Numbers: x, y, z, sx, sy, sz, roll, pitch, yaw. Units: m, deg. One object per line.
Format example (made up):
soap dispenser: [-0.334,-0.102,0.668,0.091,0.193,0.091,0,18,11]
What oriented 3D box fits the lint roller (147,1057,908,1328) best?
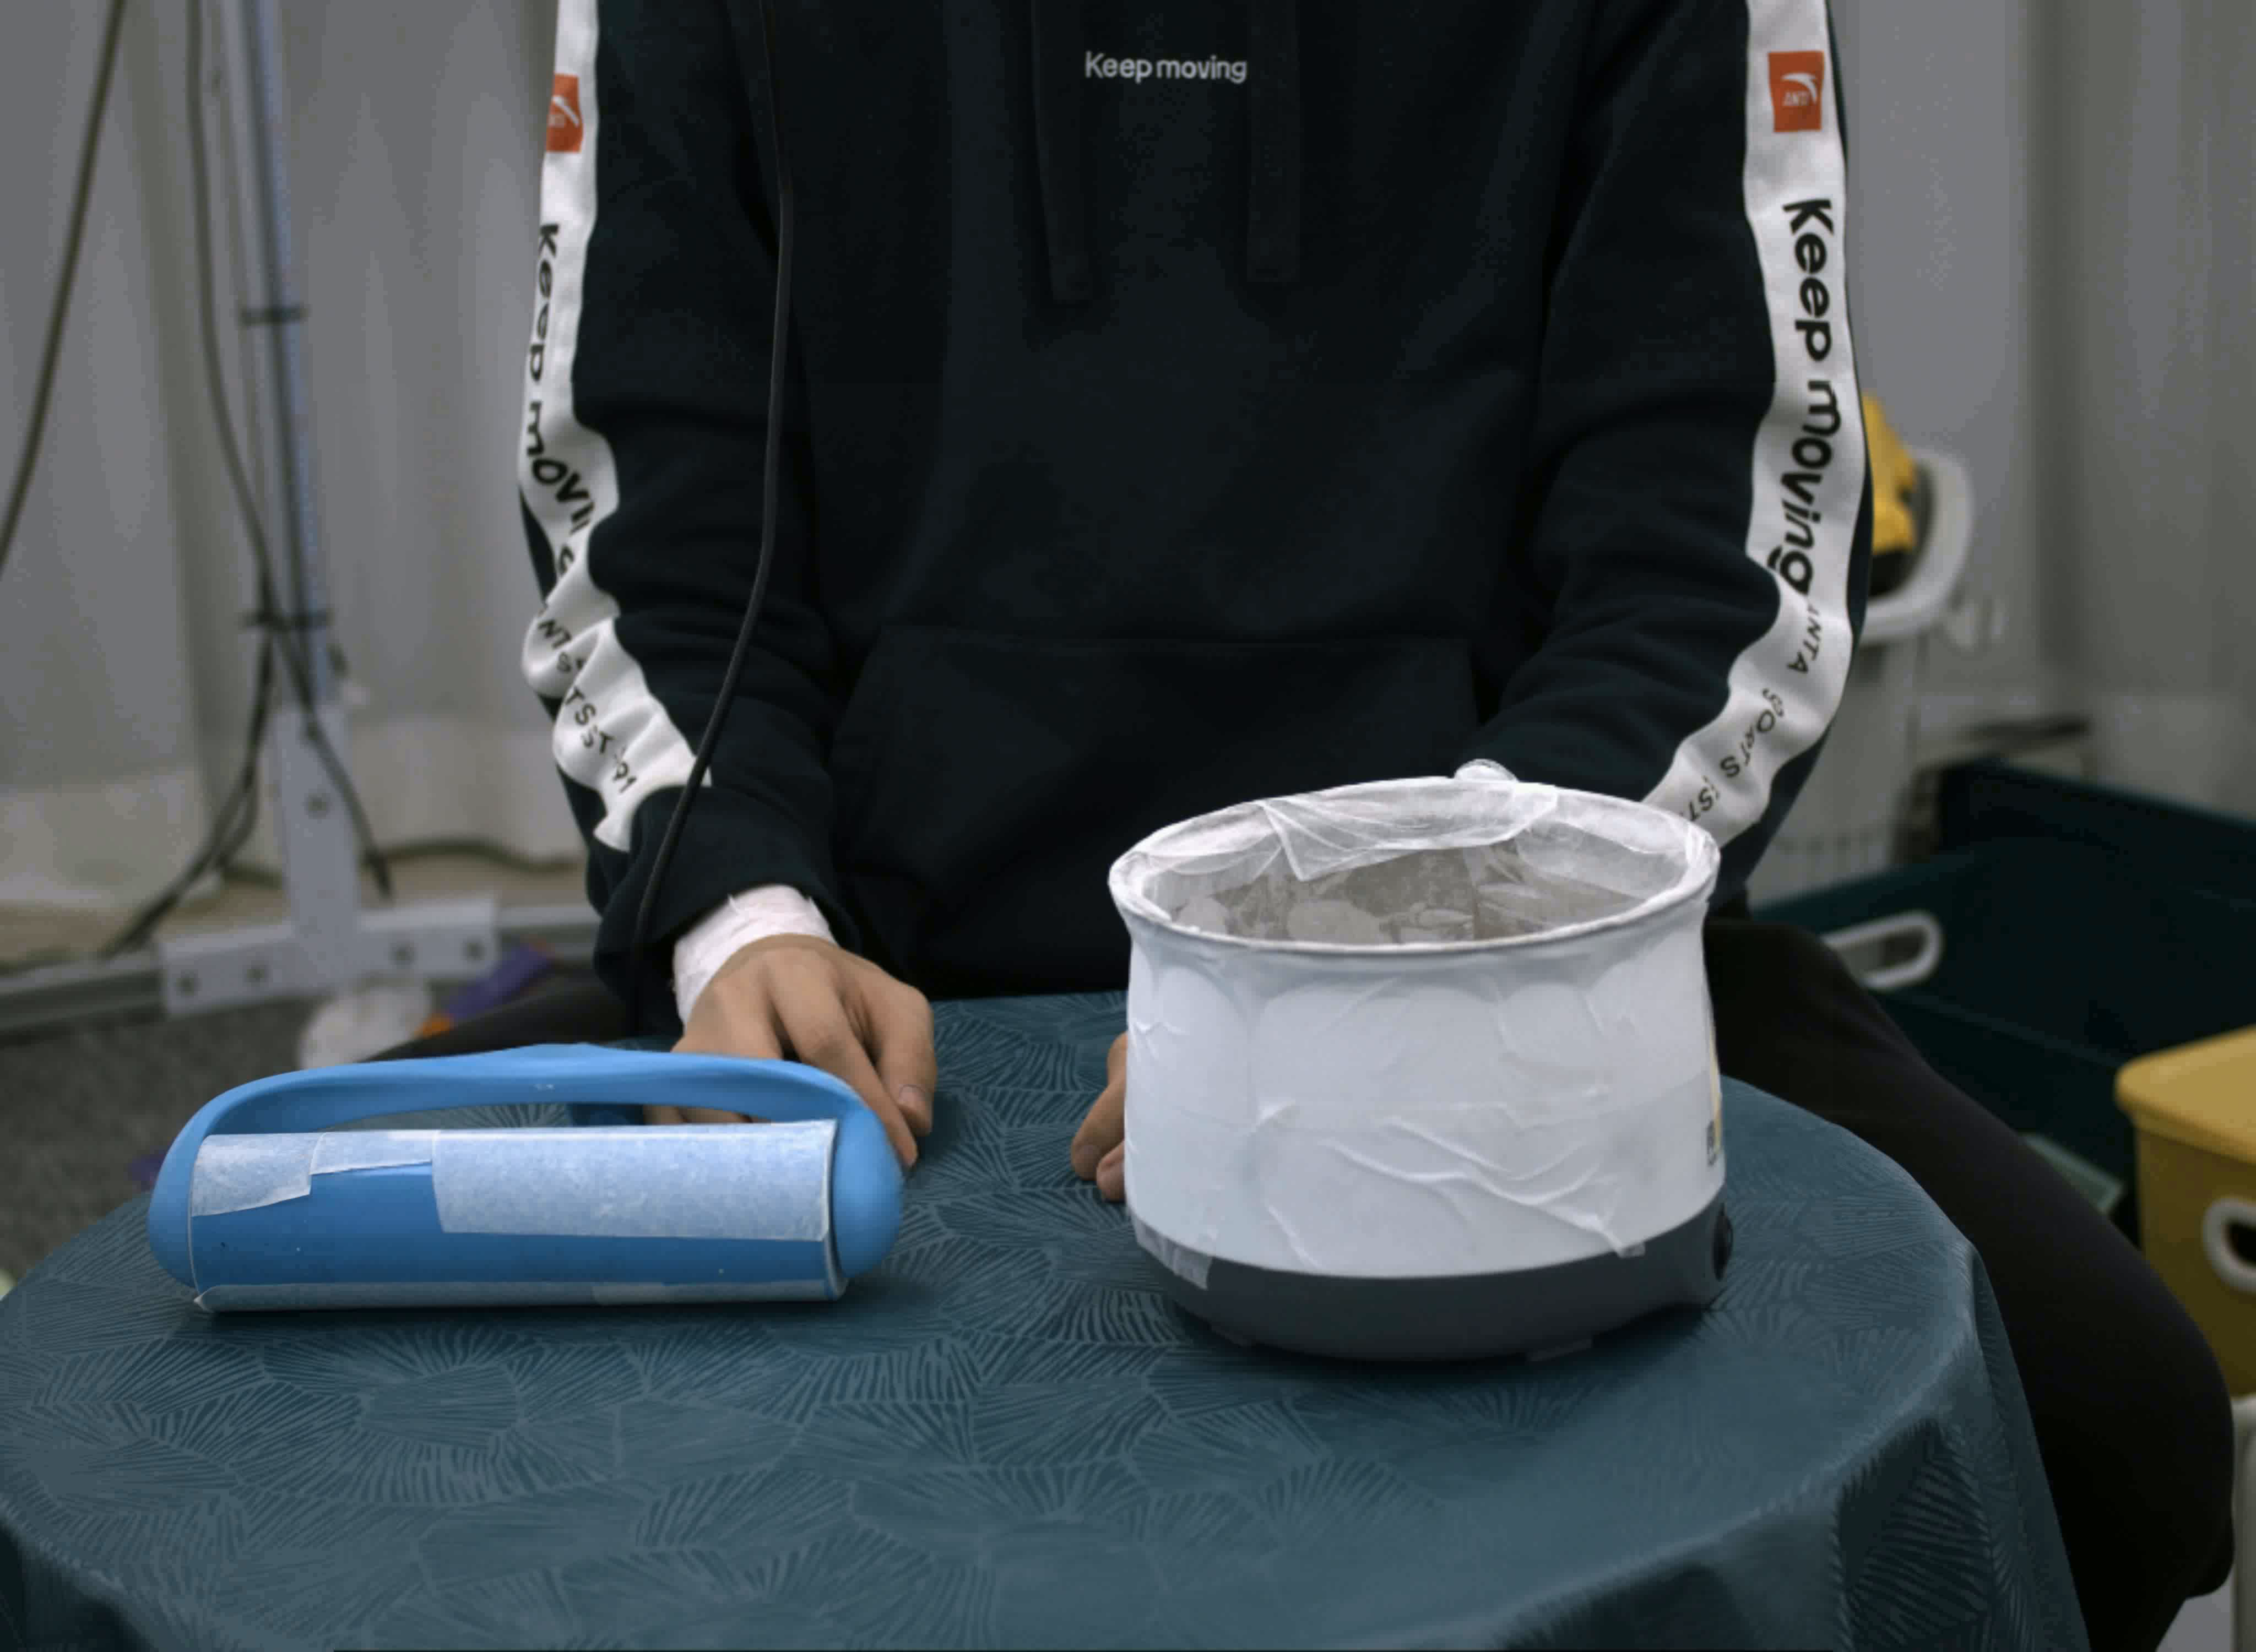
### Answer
lint roller: [-0.179,0.102,1.691,0.228,0.067,0.181,-4,16,2]

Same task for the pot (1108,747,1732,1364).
pot: [0.092,0.062,1.620,0.178,0.136,0.235,1,17,14]
